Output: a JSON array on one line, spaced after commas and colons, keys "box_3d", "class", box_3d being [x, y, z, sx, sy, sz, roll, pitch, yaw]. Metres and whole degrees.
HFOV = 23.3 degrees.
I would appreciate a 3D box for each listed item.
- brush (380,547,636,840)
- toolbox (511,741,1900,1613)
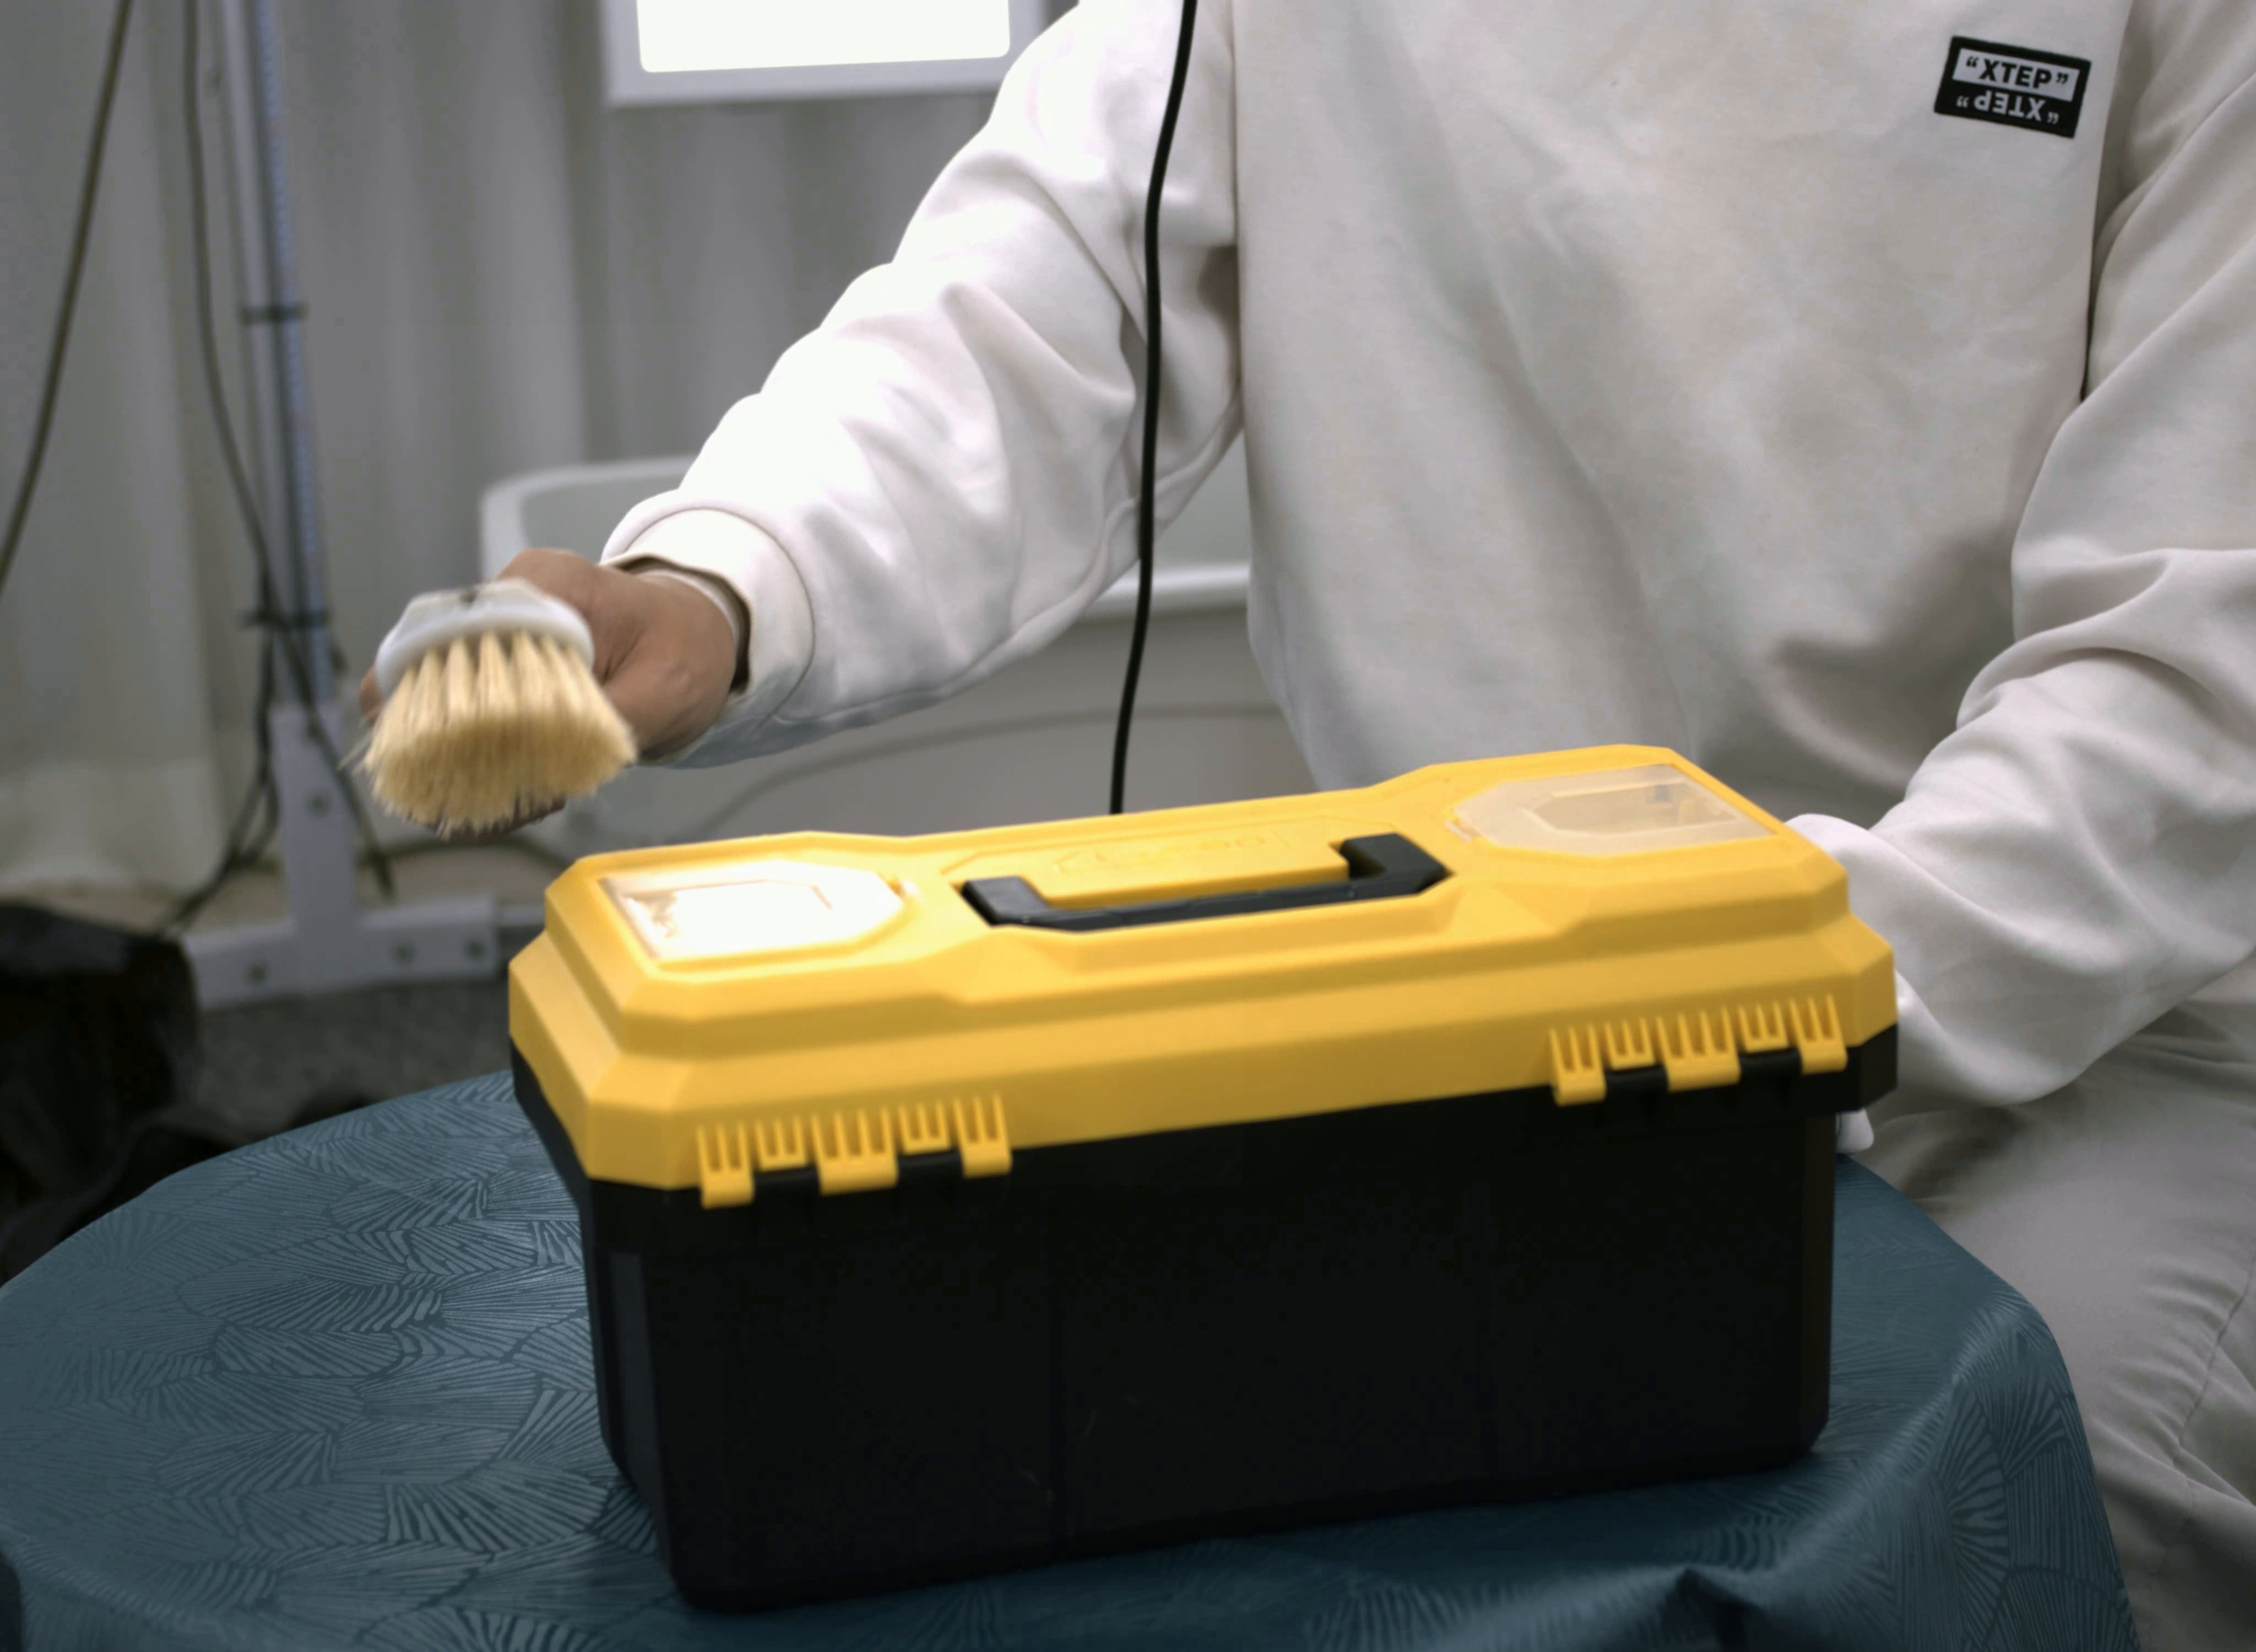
[{"box_3d": [-0.168, -0.013, 1.584, 0.068, 0.057, 0.264, 3, -17, 0], "class": "brush"}, {"box_3d": [0.019, 0.090, 1.473, 0.350, 0.172, 0.183, -6, 16, -13], "class": "toolbox"}]
